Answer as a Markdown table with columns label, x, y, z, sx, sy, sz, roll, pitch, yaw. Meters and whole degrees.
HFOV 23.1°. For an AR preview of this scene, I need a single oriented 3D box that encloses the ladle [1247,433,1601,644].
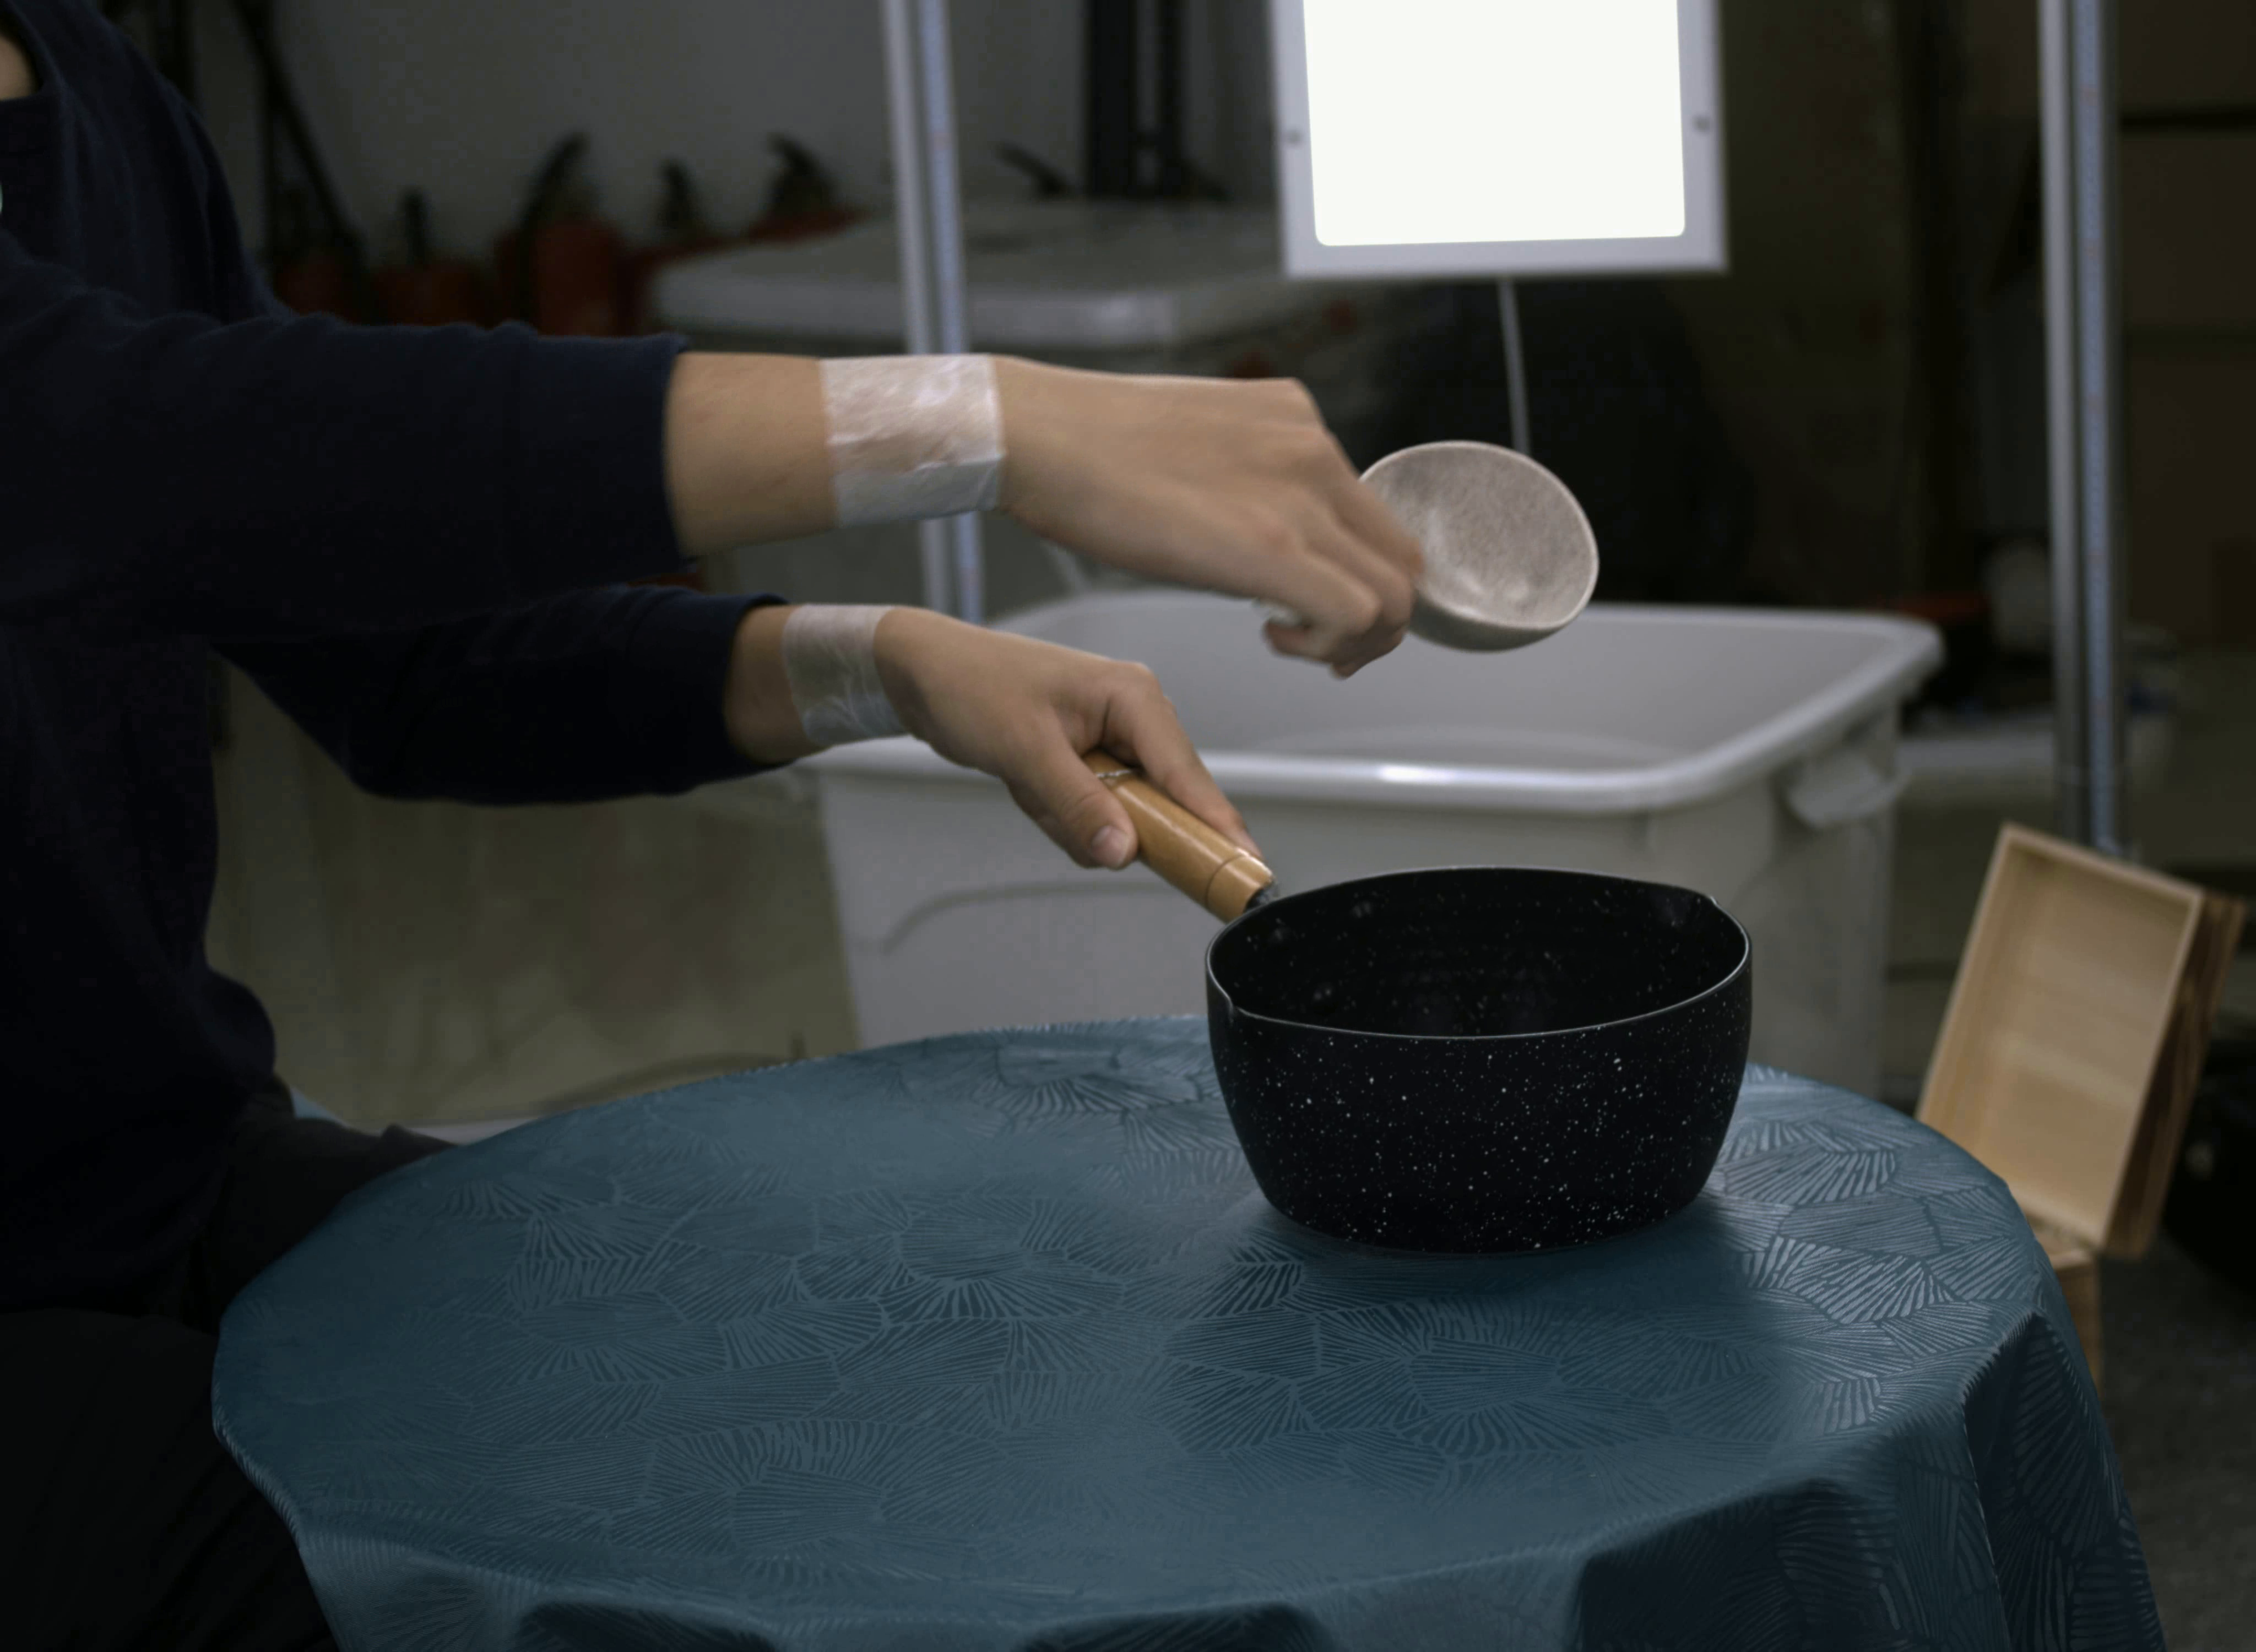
| label | x | y | z | sx | sy | sz | roll | pitch | yaw |
| --- | --- | --- | --- | --- | --- | --- | --- | --- | --- |
| ladle | 0.090 | -0.096 | 1.742 | 0.090 | 0.070 | 0.271 | 32 | 8 | 12 |

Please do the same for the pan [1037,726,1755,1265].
| label | x | y | z | sx | sy | sz | roll | pitch | yaw |
| --- | --- | --- | --- | --- | --- | --- | --- | --- | --- |
| pan | 0.072 | 0.053 | 1.910 | 0.202 | 0.109 | 0.349 | -16 | 22 | -32 |
